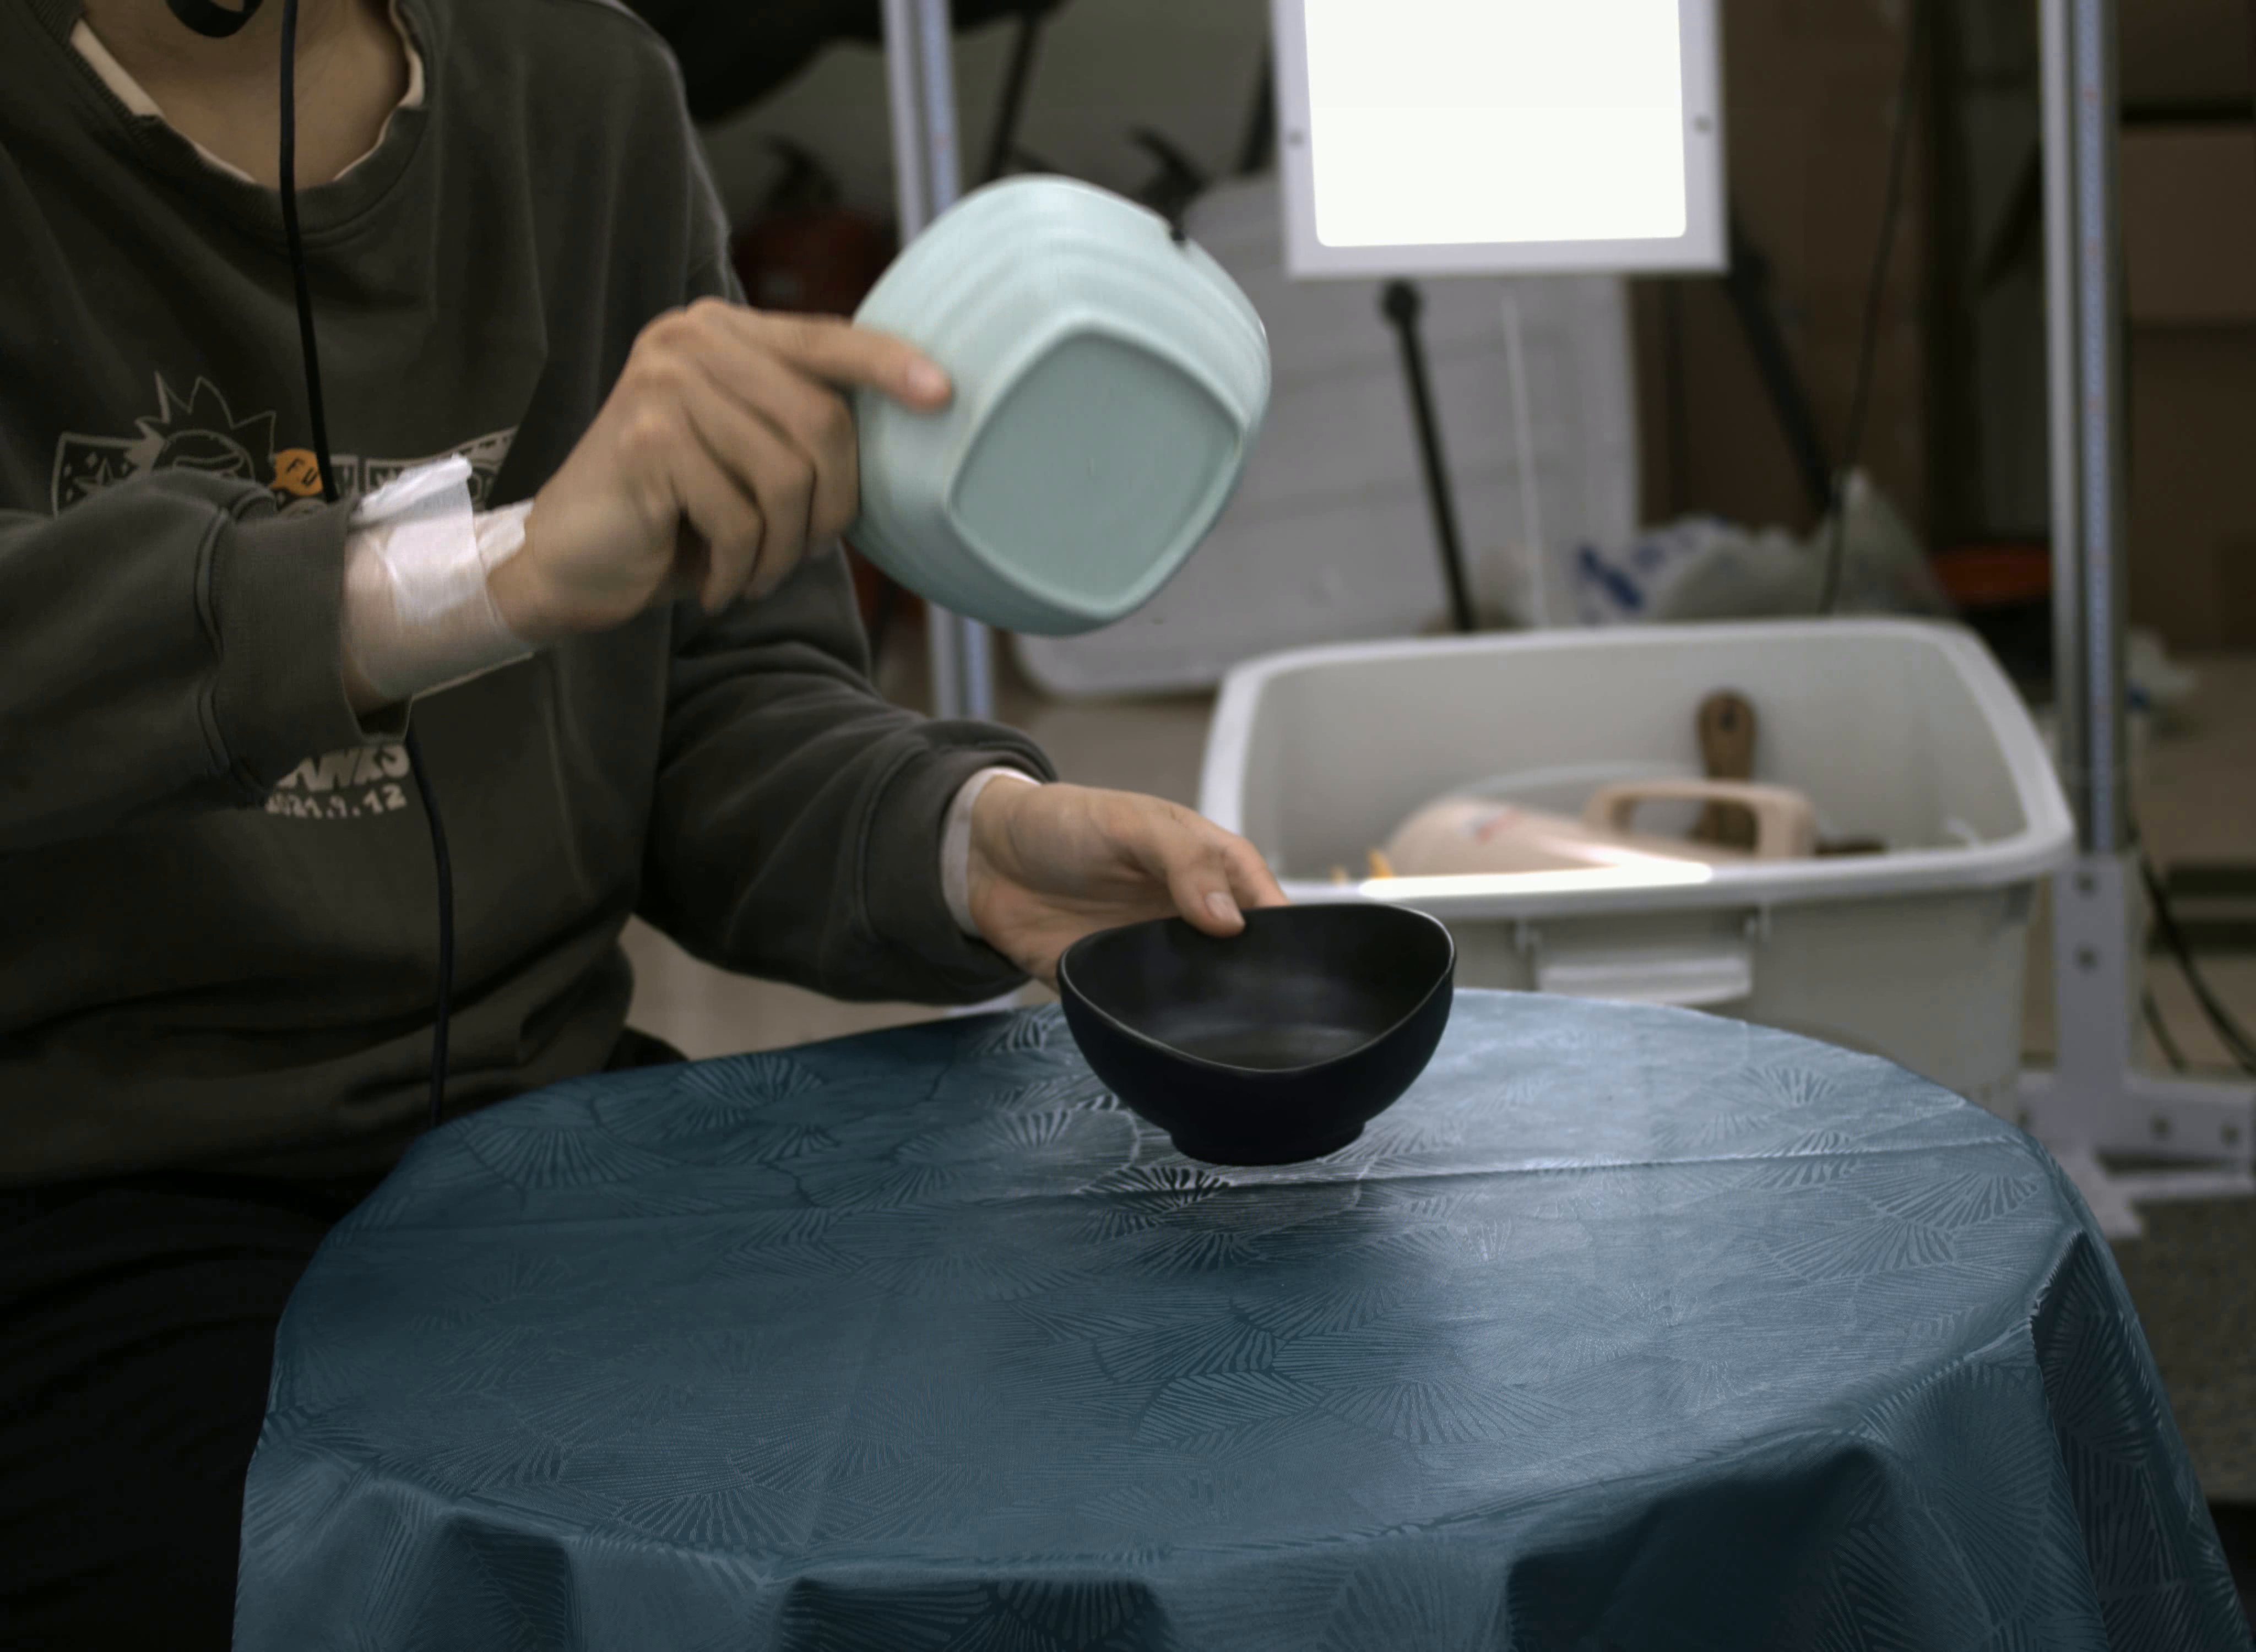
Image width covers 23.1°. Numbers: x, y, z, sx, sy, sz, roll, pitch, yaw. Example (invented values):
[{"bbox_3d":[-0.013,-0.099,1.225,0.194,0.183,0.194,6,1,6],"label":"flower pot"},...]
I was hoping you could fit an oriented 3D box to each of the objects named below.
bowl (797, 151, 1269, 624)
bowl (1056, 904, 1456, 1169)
[{"bbox_3d":[-0.021,-0.125,1.672,0.149,0.152,0.059,-7,22,-13],"label":"bowl"},{"bbox_3d":[0.046,0.076,1.885,0.136,0.067,0.170,-6,16,-4],"label":"bowl"}]
